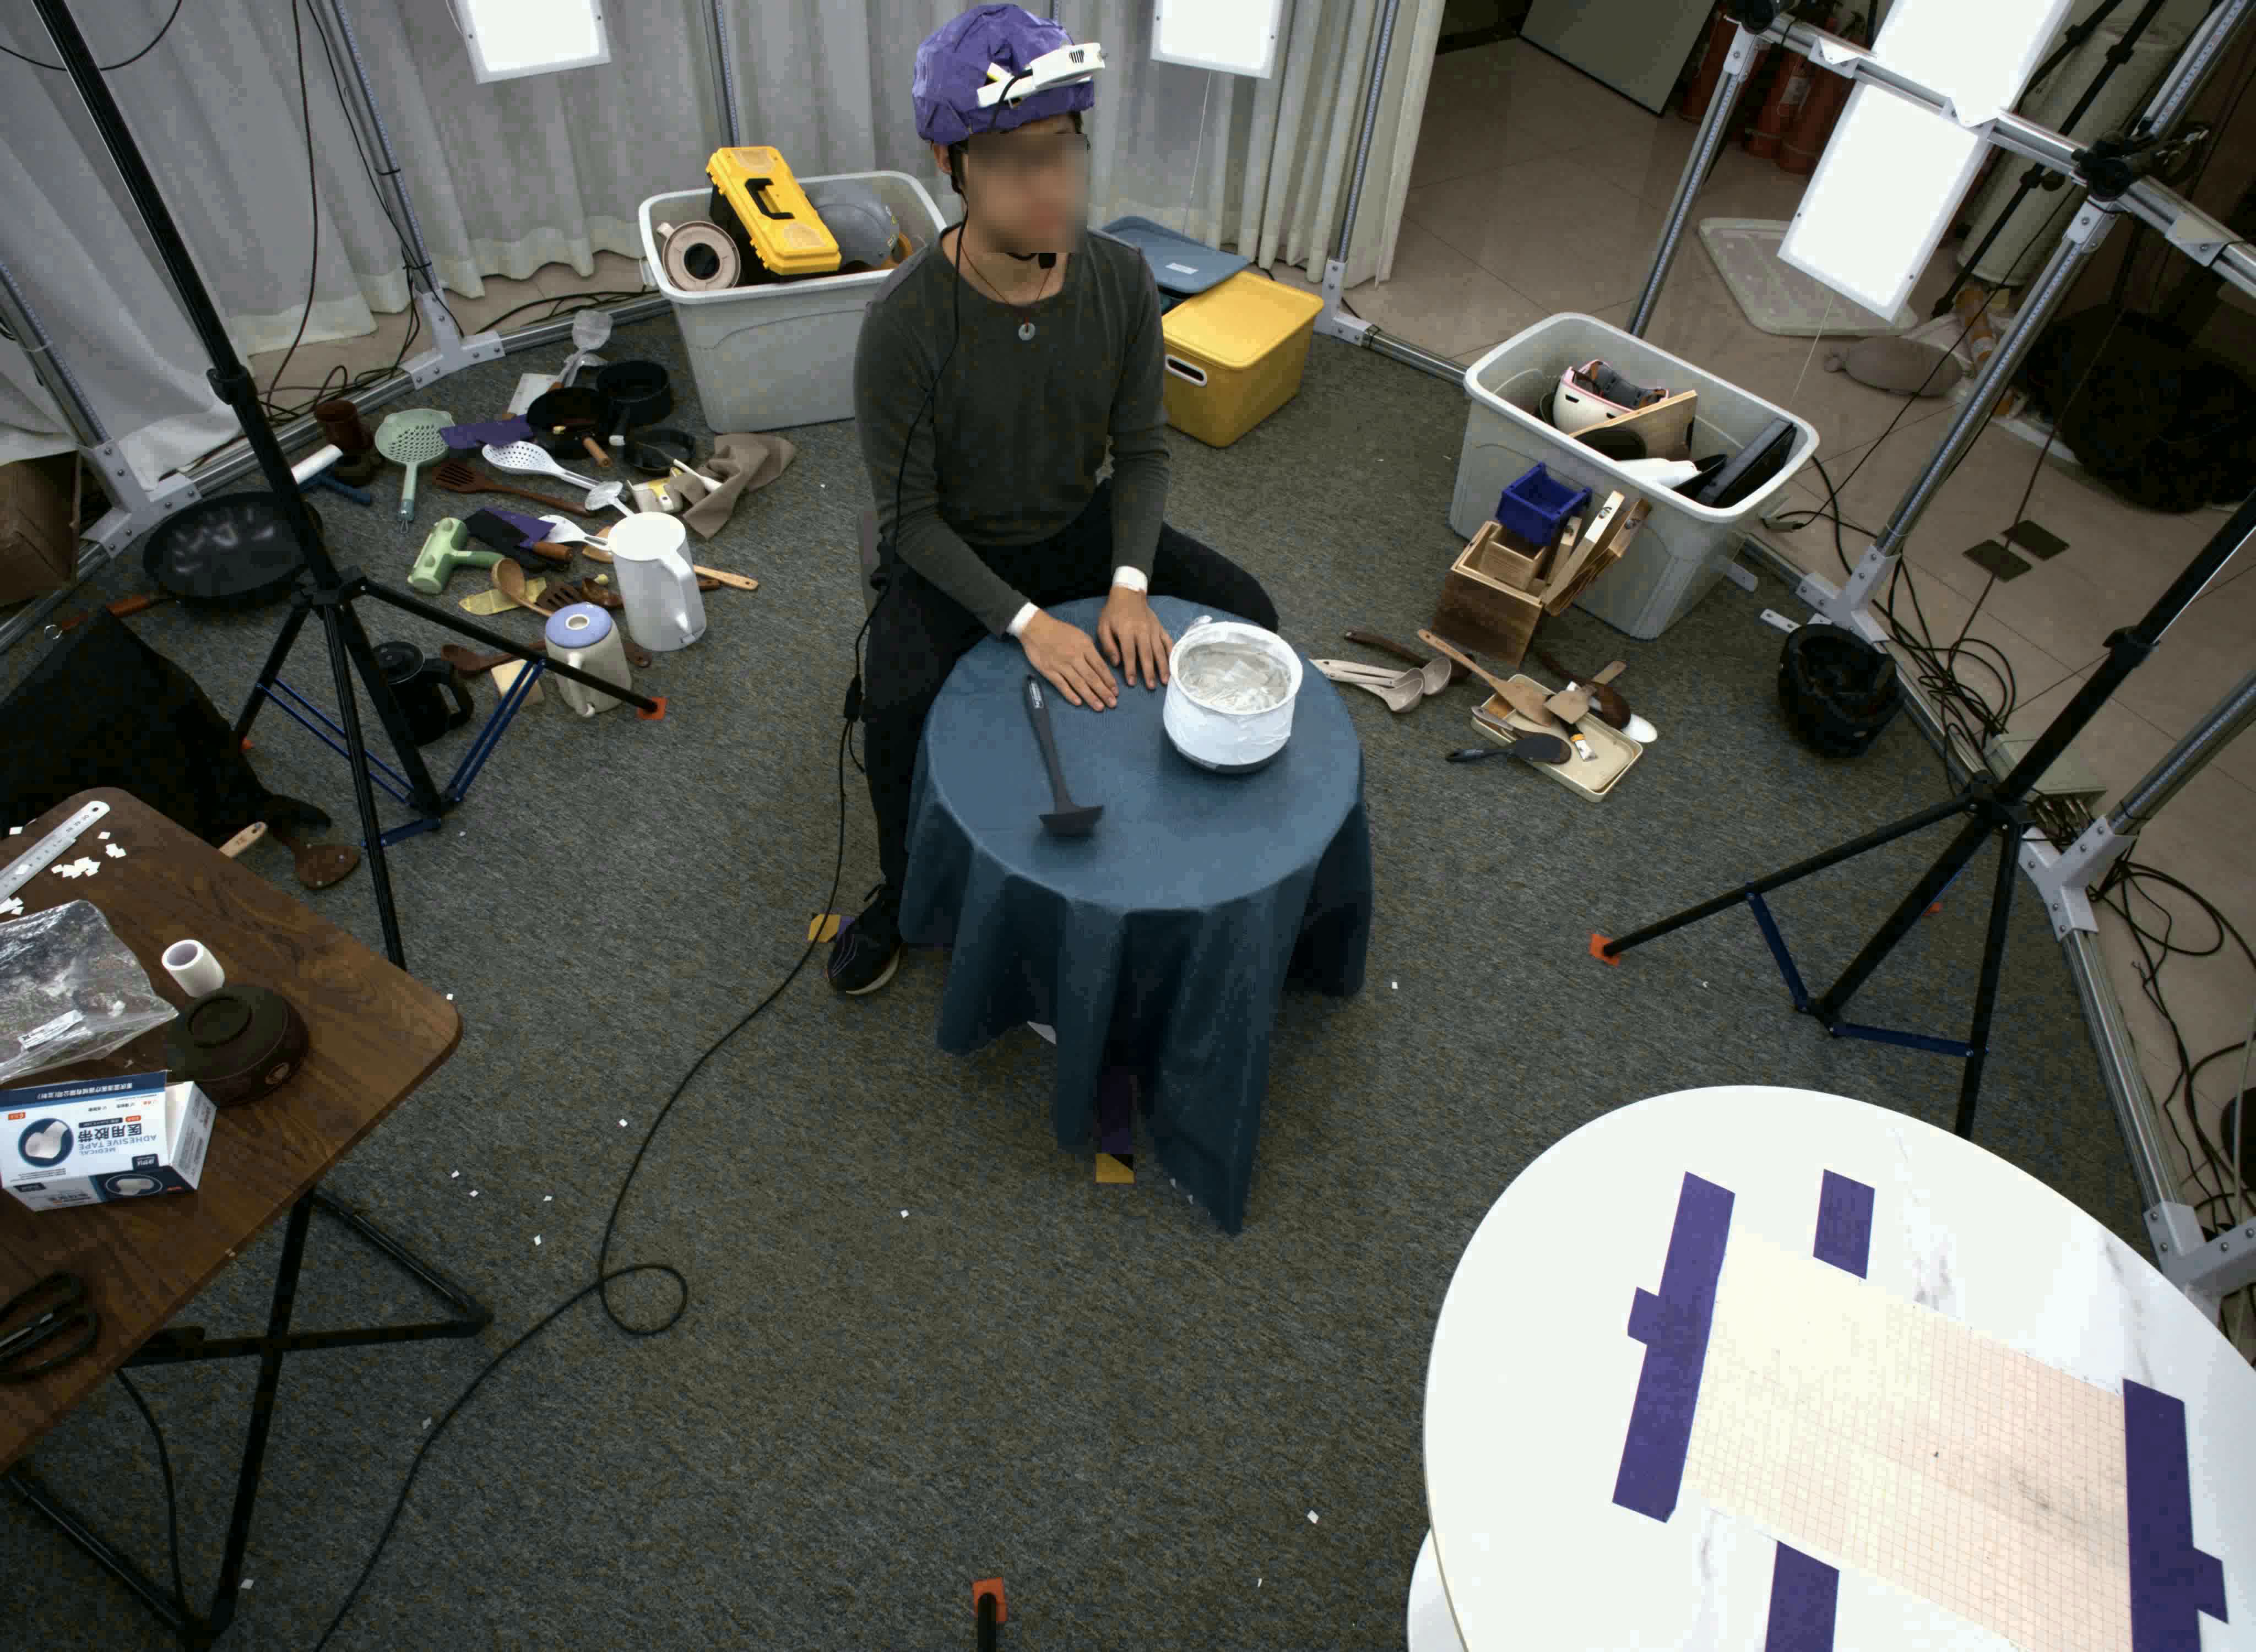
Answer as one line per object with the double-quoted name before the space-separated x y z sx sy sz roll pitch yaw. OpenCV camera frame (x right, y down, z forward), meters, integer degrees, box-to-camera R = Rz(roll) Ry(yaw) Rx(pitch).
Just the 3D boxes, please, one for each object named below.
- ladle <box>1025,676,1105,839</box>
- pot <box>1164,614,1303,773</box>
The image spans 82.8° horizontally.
"ladle" -0.102 -0.107 1.713 0.086 0.062 0.322 -5 49 -14
"pot" 0.128 -0.190 1.752 0.179 0.133 0.239 -15 52 -17
